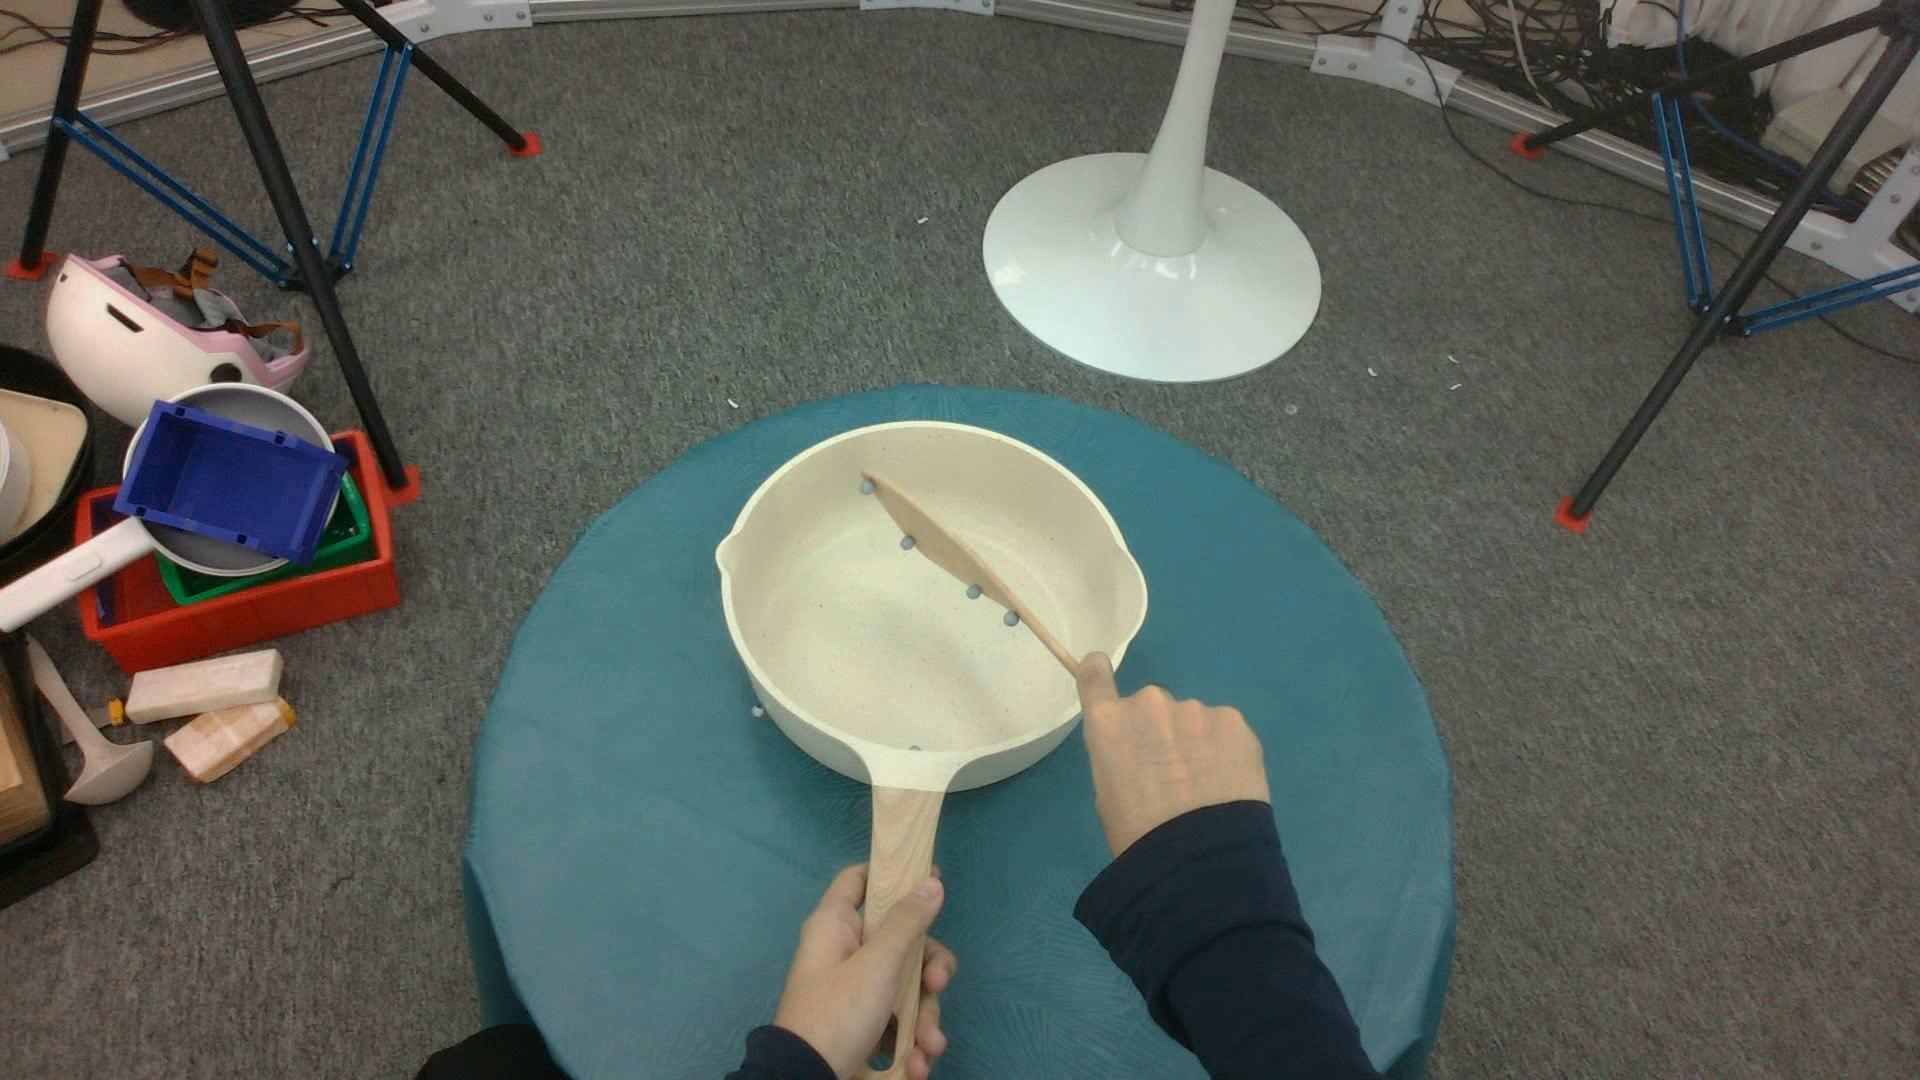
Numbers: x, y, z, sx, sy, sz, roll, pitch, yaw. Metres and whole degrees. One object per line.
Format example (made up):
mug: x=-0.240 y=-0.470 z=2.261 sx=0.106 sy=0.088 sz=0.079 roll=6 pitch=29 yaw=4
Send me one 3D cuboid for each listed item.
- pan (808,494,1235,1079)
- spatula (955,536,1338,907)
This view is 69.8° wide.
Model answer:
pan: x=0.025 y=0.157 z=0.808 sx=0.263 sy=0.101 sz=0.437 roll=7 pitch=50 yaw=2
spatula: x=0.091 y=0.091 z=0.745 sx=0.016 sy=0.080 sz=0.328 roll=-37 pitch=40 yaw=-7
